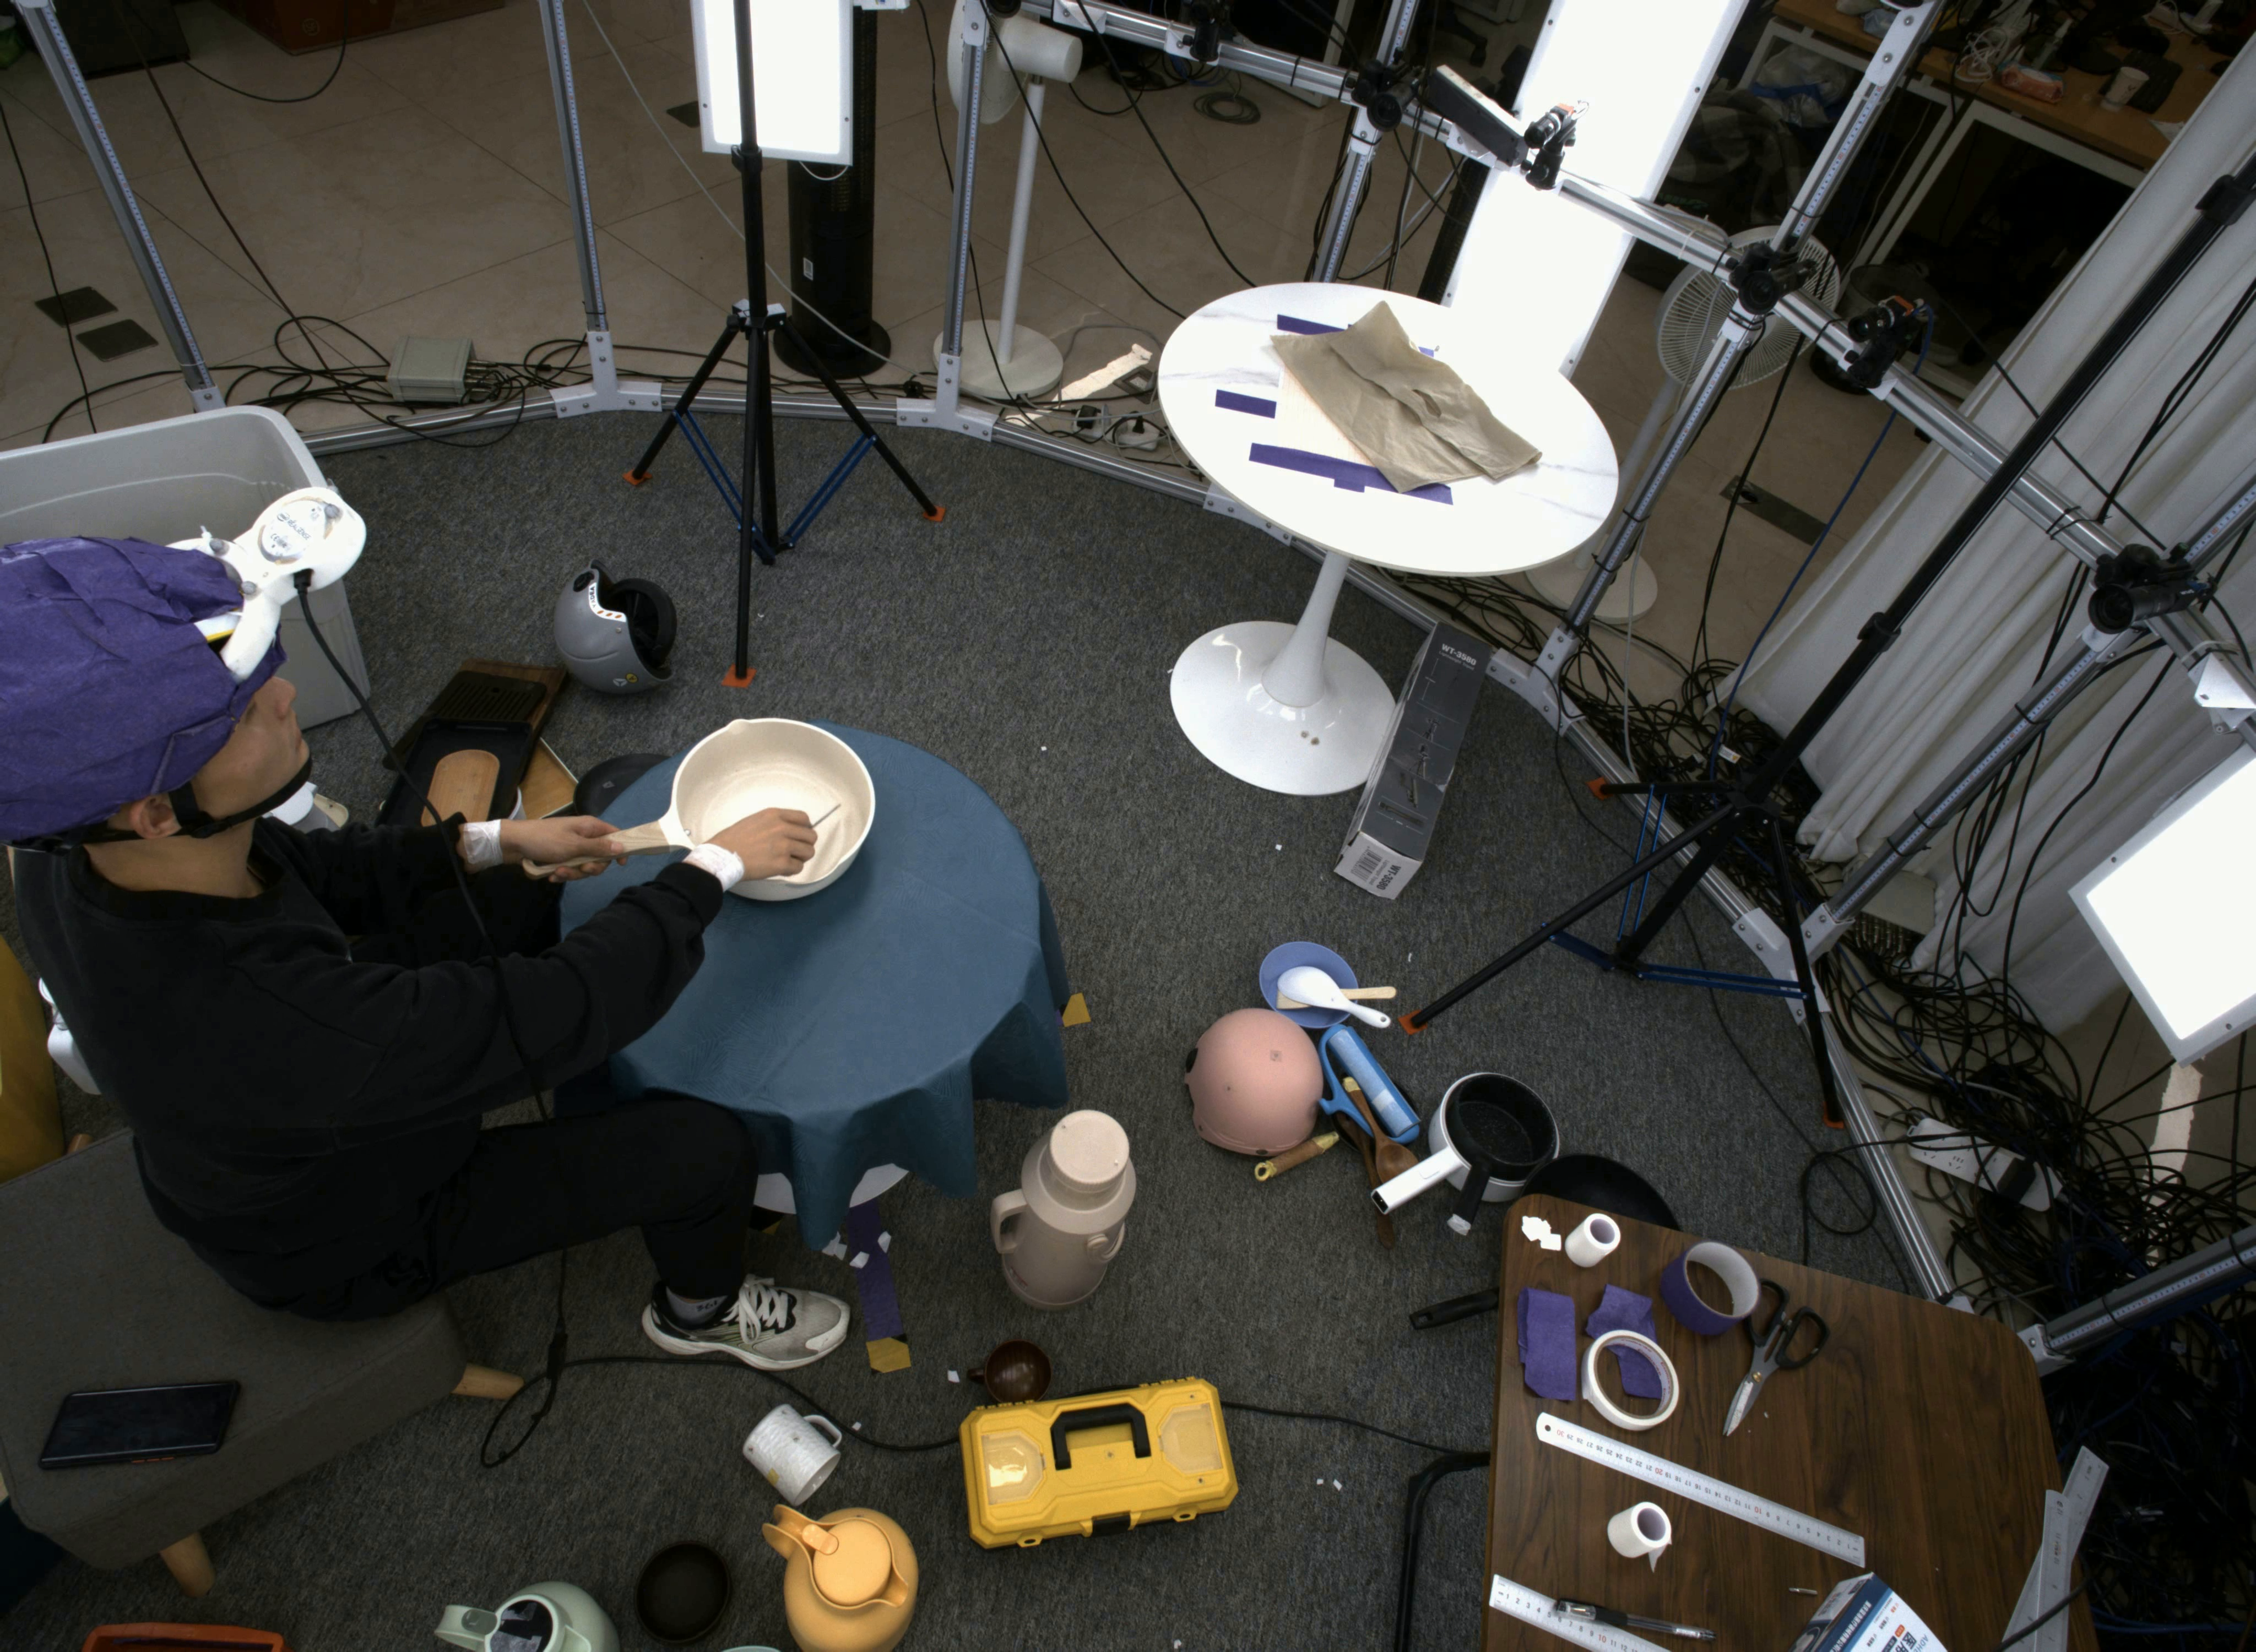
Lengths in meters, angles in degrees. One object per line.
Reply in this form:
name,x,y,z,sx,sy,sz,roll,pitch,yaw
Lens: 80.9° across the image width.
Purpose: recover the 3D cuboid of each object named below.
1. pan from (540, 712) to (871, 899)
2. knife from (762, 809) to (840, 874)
pan,-0.532,0.006,1.611,0.437,0.103,0.259,-22,69,-28
knife,-0.403,0.011,1.617,0.017,0.026,0.223,31,23,-1
